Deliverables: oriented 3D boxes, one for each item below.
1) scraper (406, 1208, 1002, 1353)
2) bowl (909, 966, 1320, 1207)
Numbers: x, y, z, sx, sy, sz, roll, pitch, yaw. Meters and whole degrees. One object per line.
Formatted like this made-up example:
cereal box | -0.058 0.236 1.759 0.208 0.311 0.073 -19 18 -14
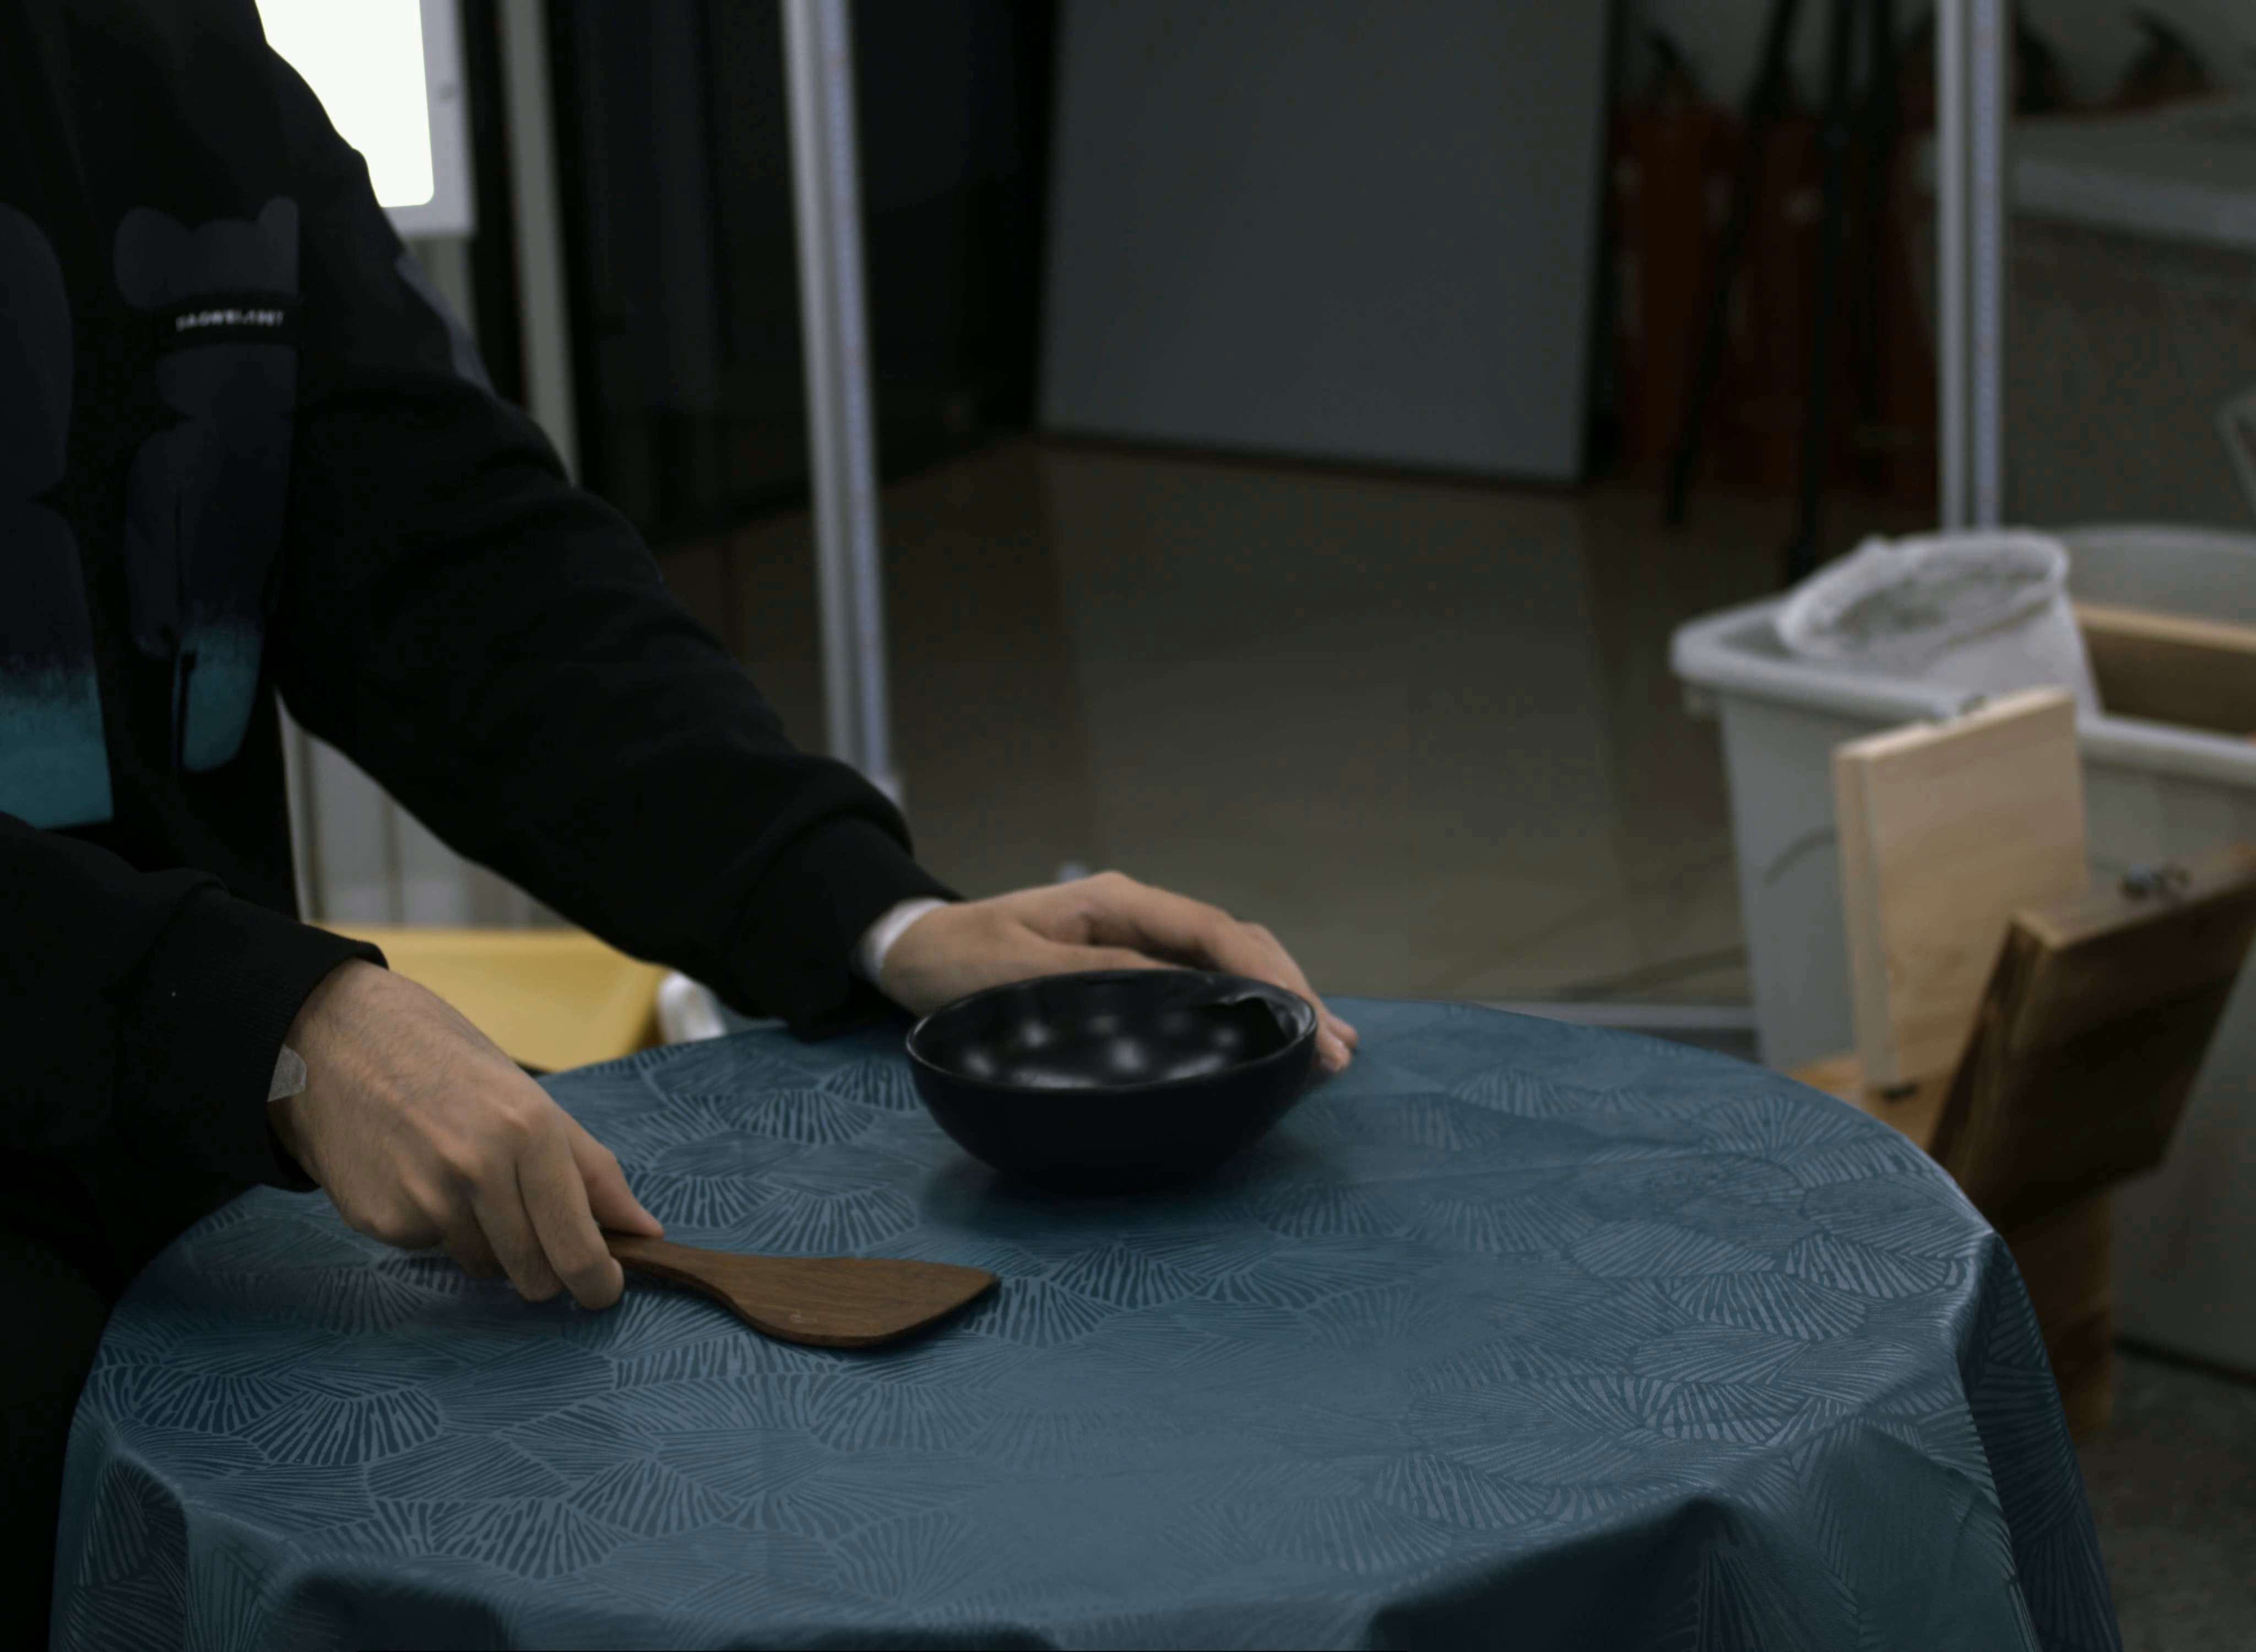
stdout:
scraper | -0.140 0.141 1.707 0.212 0.011 0.074 7 17 31
bowl | -0.002 0.091 1.795 0.138 0.050 0.140 -7 15 1
